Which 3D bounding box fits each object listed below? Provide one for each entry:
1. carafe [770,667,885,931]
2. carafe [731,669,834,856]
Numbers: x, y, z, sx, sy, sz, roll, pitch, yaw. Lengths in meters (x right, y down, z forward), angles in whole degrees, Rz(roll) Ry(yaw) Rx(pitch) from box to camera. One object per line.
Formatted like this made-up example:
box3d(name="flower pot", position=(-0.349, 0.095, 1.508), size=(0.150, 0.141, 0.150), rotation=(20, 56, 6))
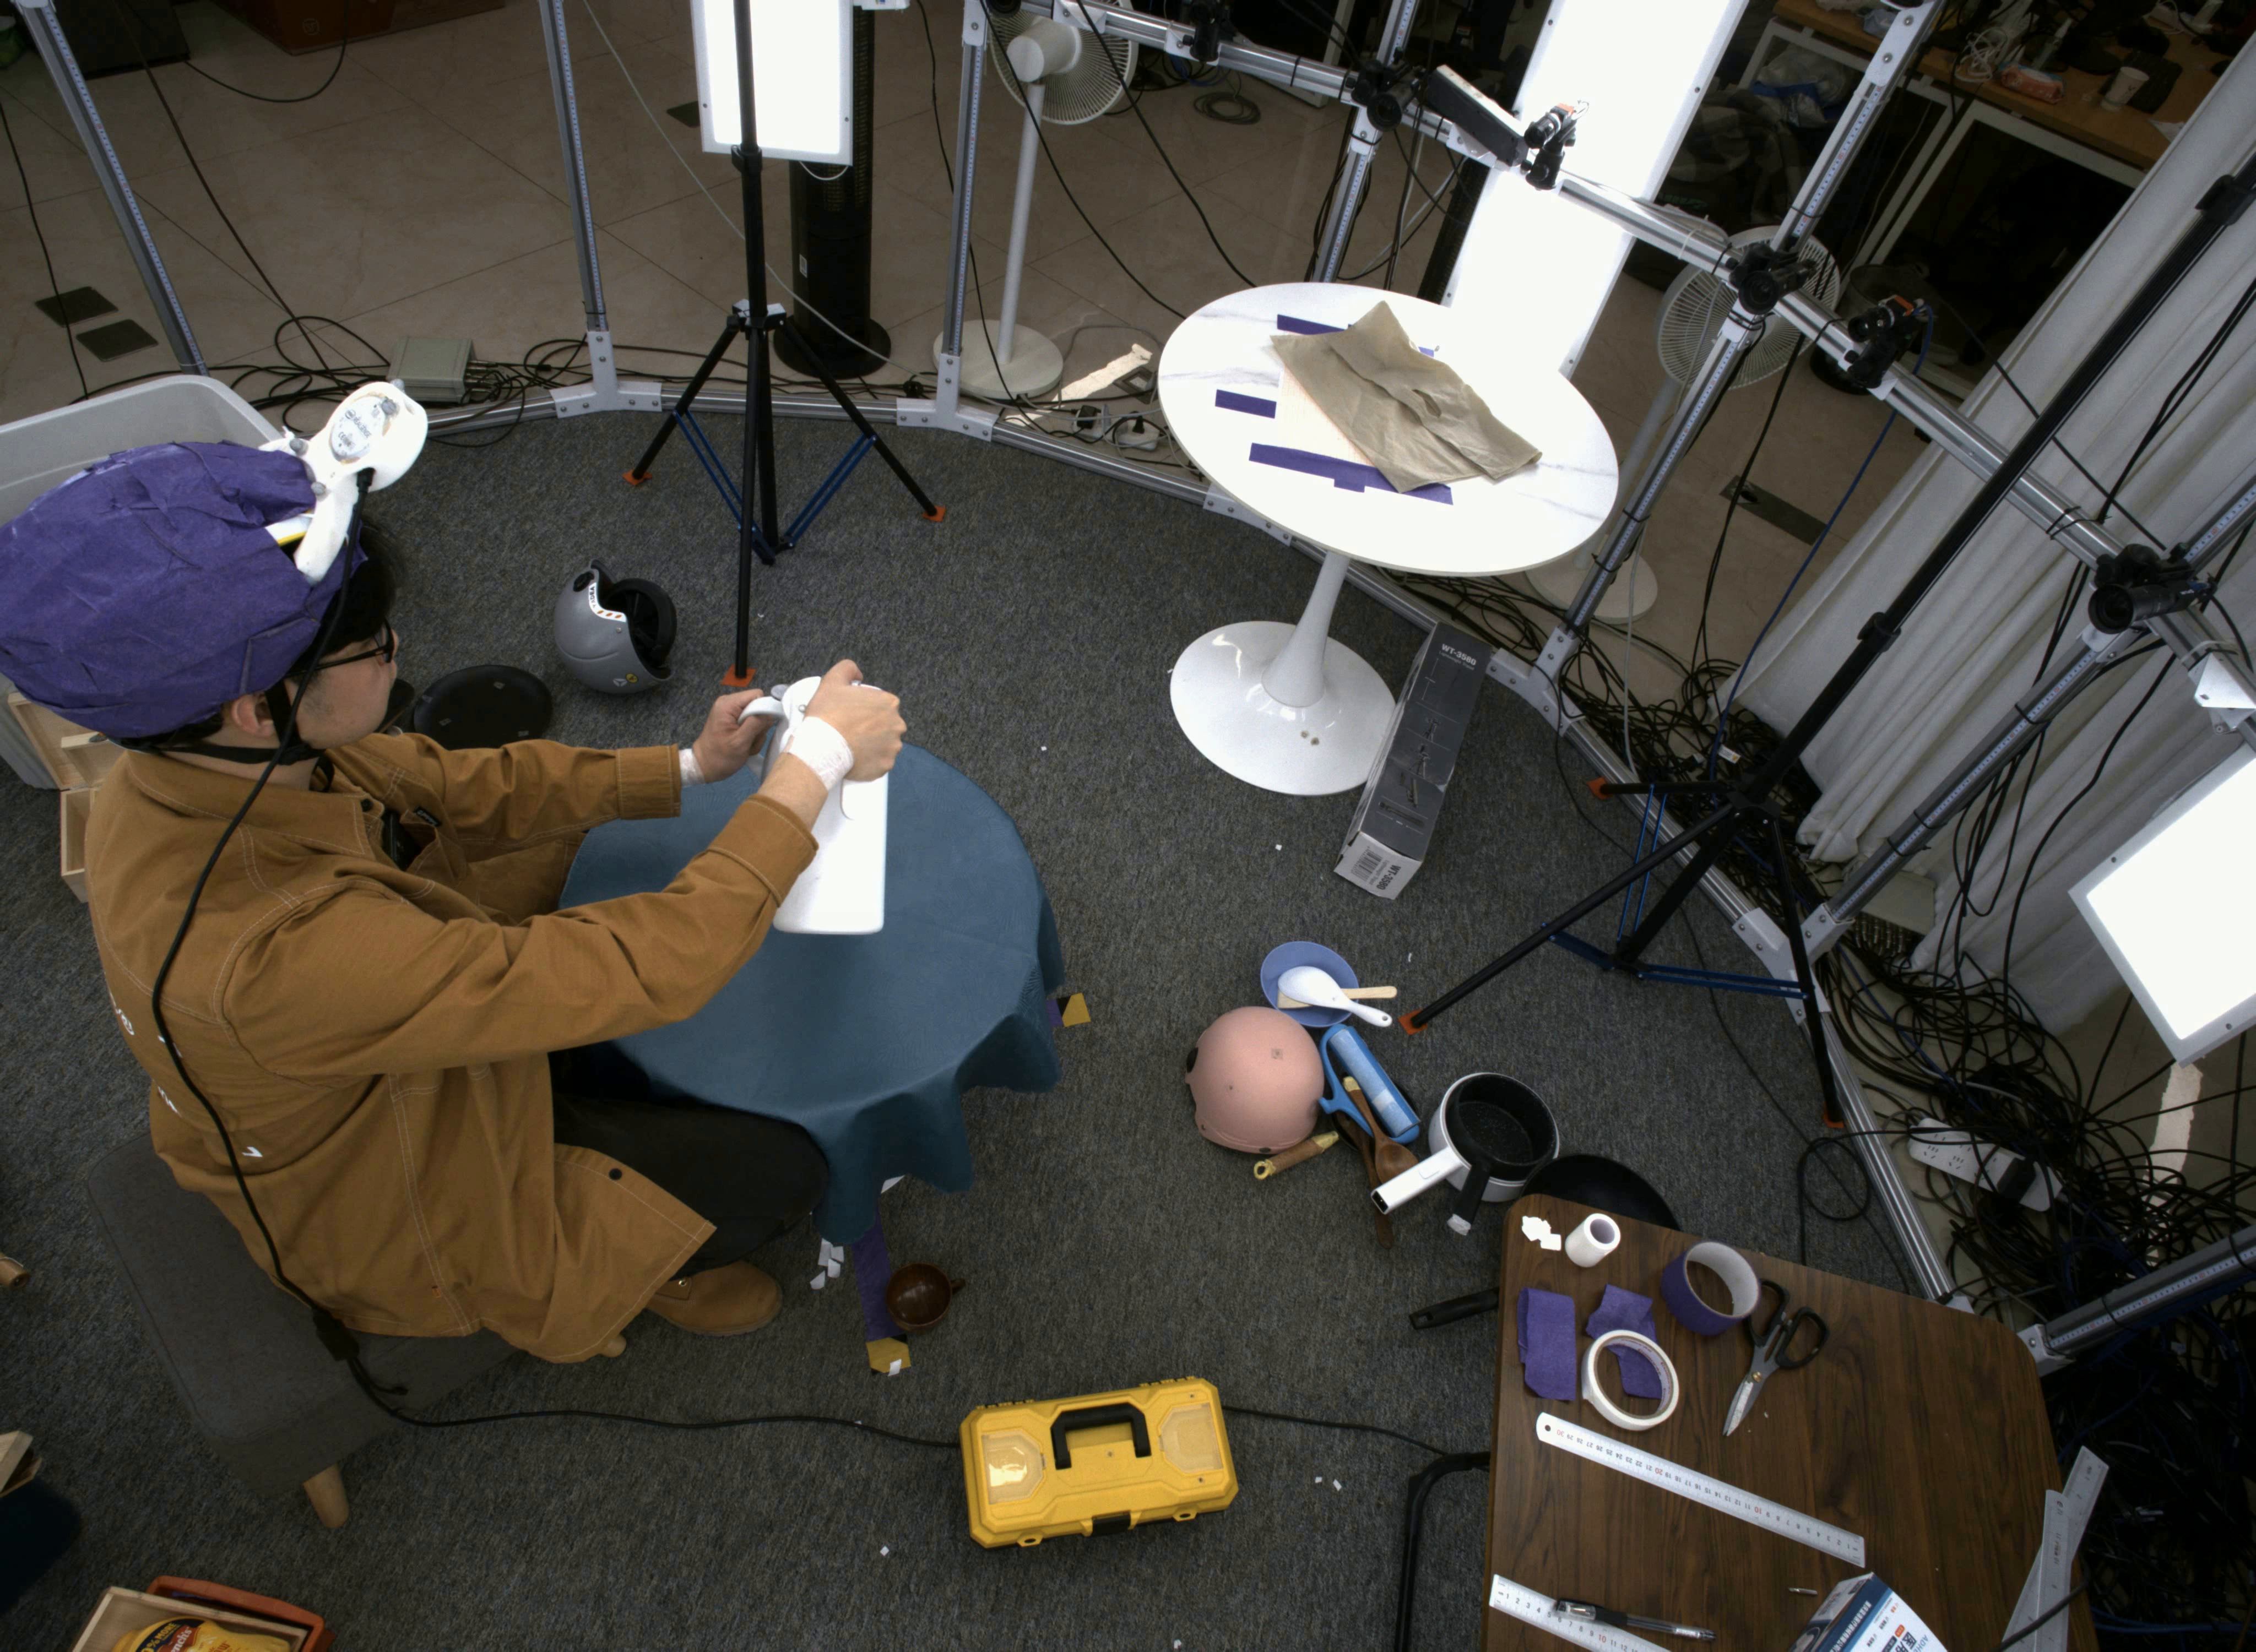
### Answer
box3d(name="carafe", position=(-0.311, -0.026, 1.368), size=(0.125, 0.169, 0.271), rotation=(4, 86, -26))
box3d(name="carafe", position=(-0.404, -0.082, 1.586), size=(0.167, 0.253, 0.131), rotation=(17, 51, -4))
